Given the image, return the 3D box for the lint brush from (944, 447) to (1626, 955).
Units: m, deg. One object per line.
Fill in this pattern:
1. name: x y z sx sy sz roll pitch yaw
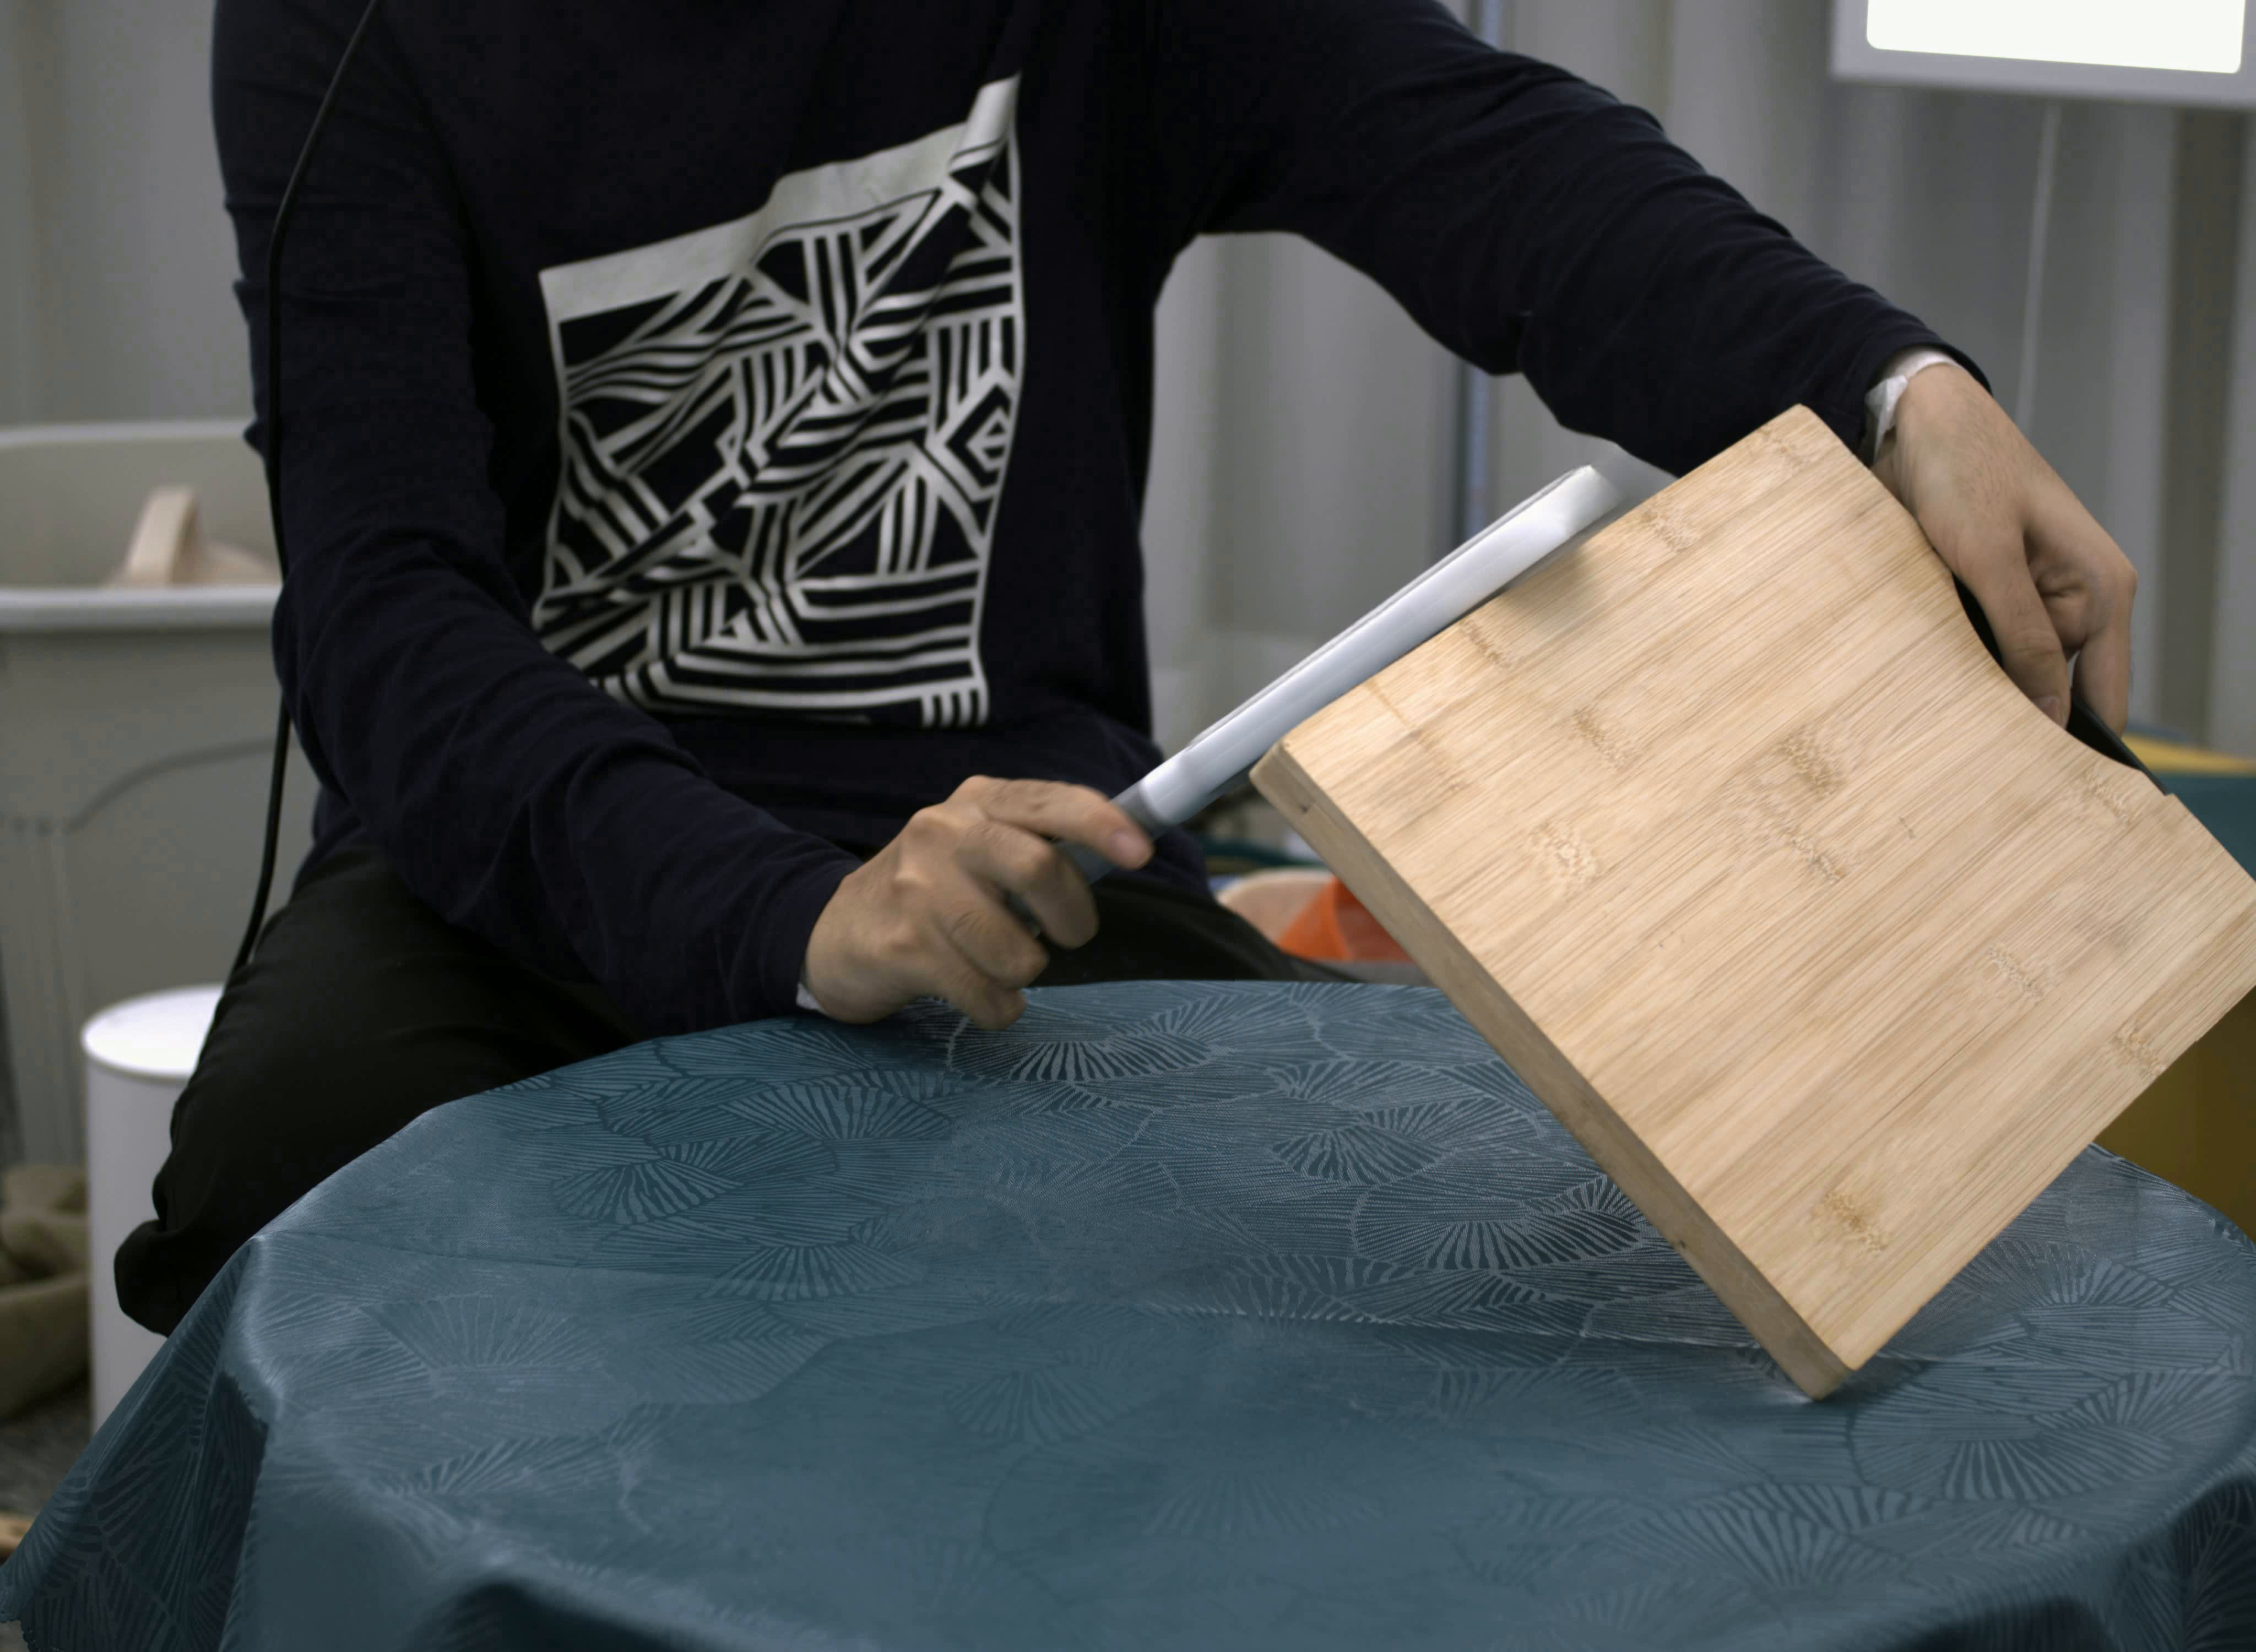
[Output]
1. lint brush: 0.044 -0.035 1.674 0.308 0.021 0.060 -36 3 36

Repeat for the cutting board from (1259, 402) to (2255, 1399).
1. cutting board: 0.210 0.009 1.604 0.250 0.023 0.349 49 39 6
